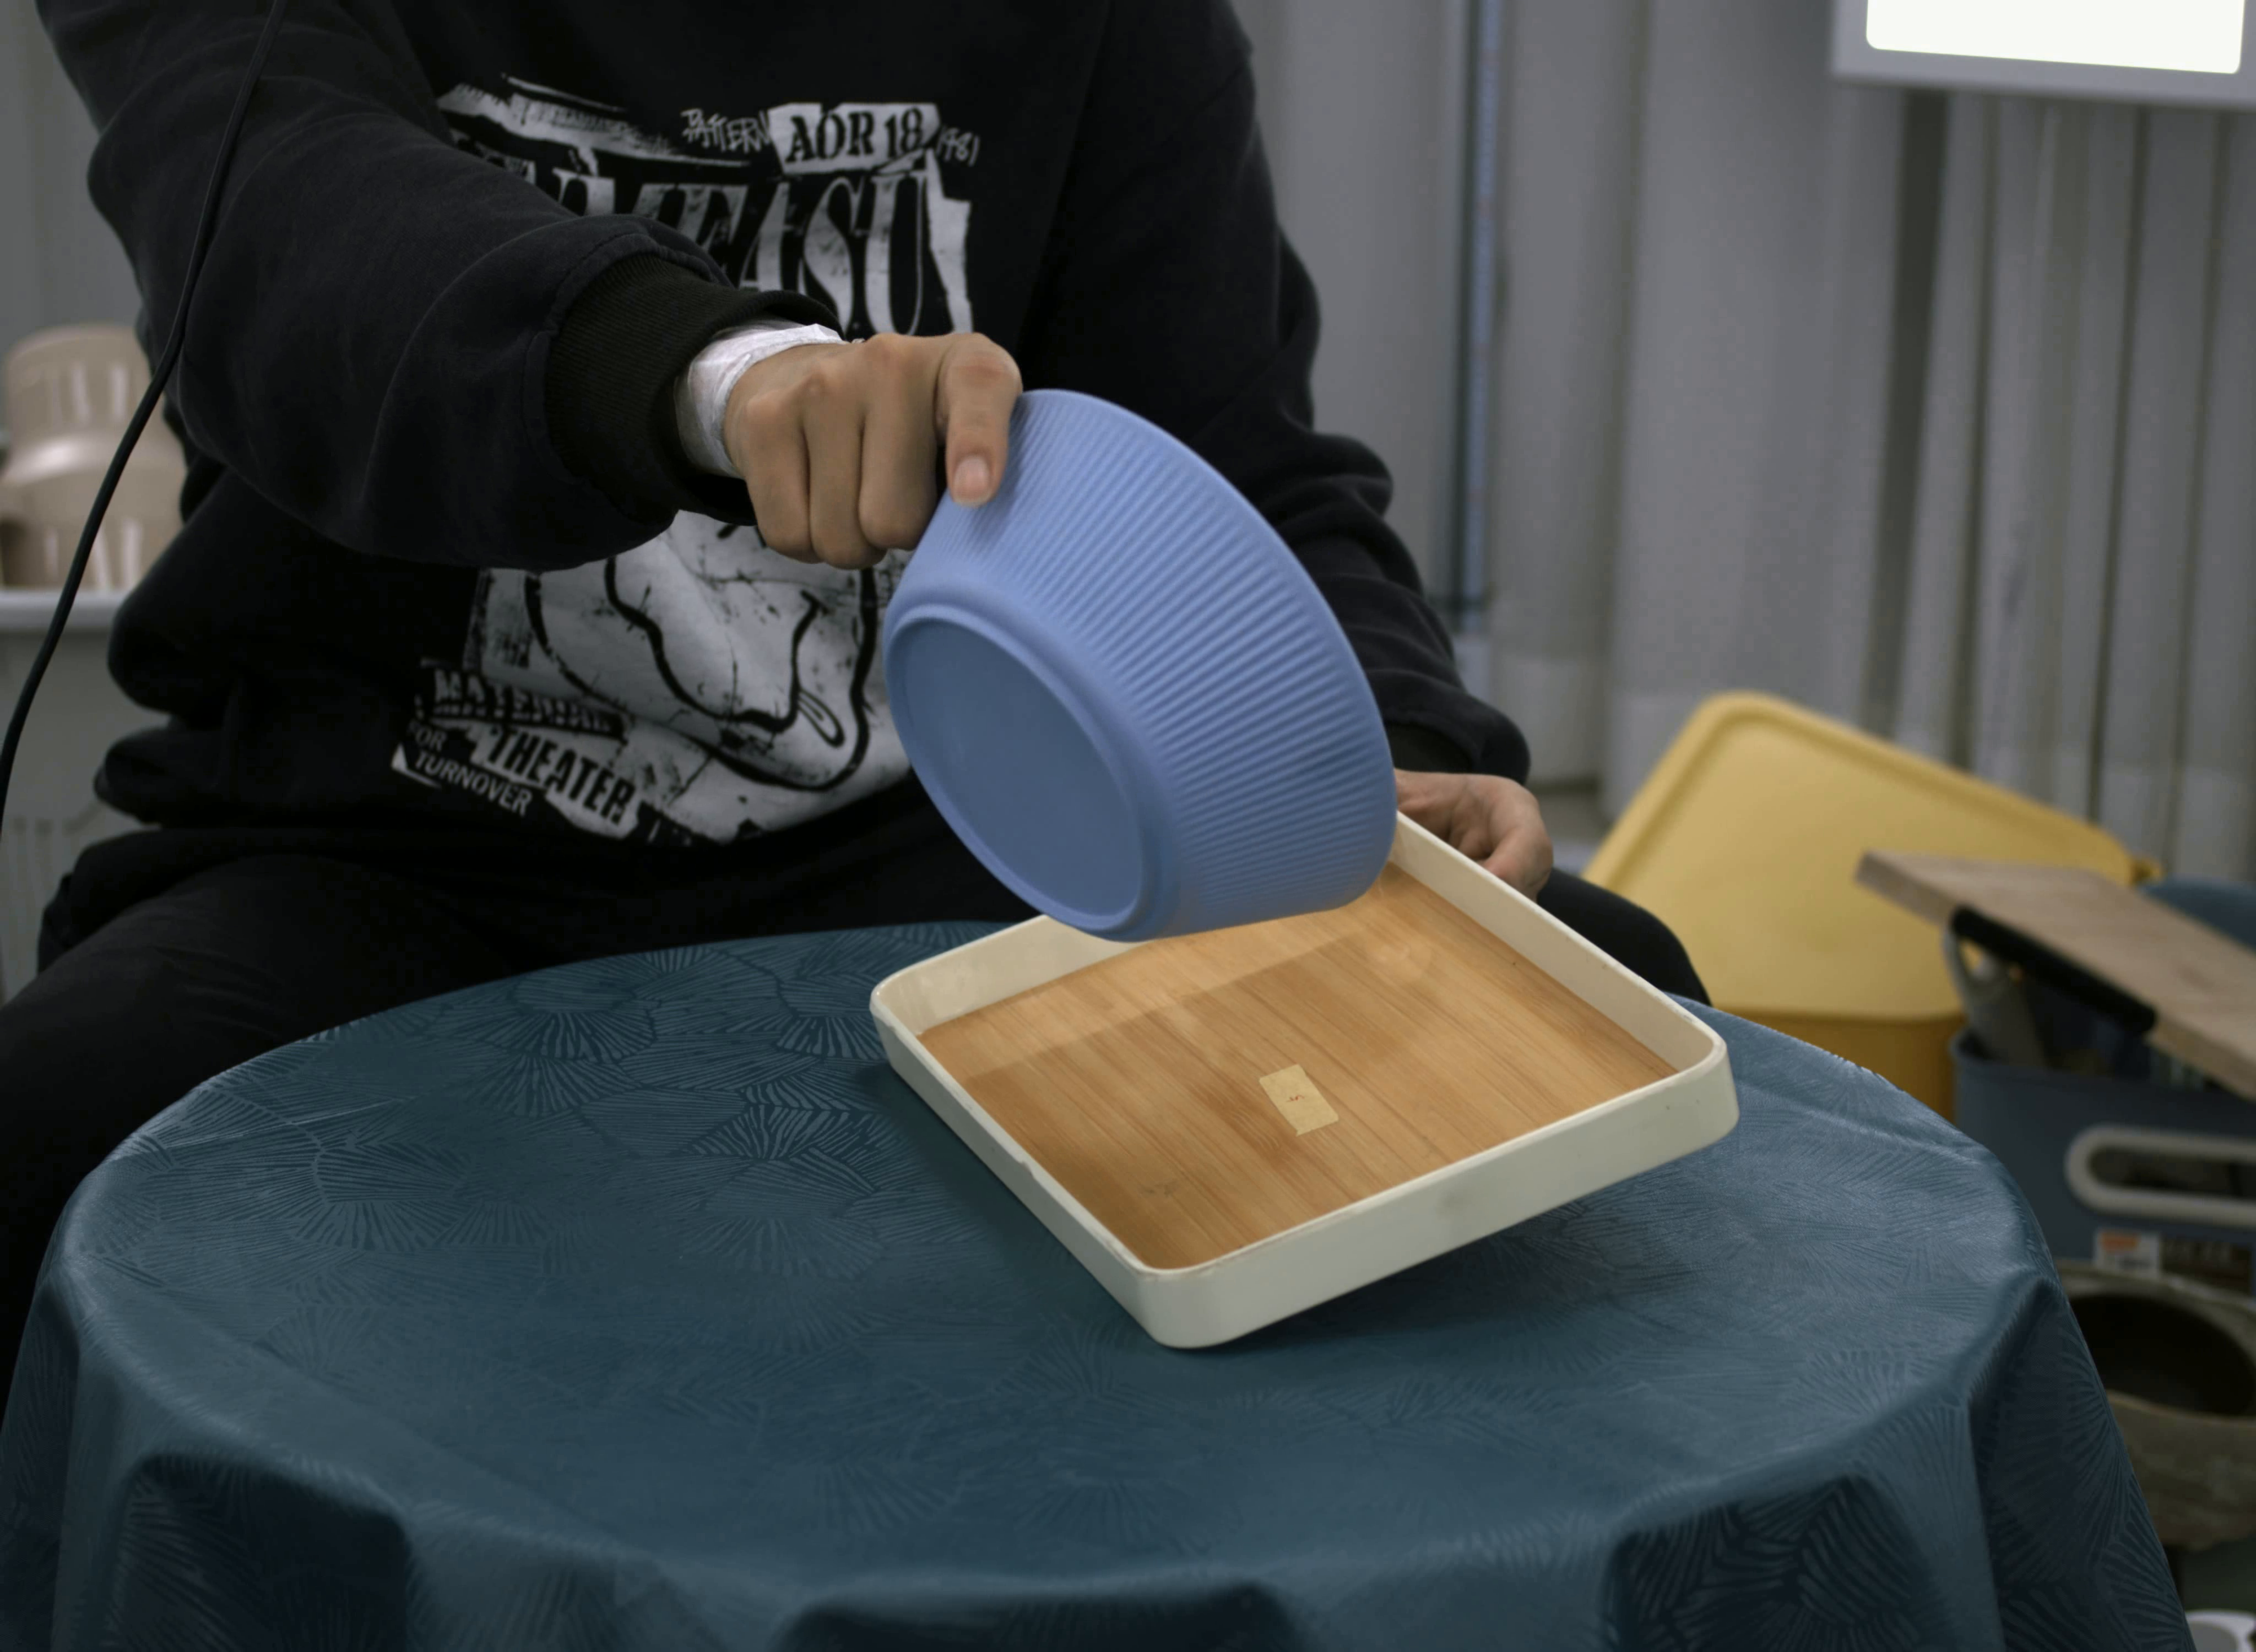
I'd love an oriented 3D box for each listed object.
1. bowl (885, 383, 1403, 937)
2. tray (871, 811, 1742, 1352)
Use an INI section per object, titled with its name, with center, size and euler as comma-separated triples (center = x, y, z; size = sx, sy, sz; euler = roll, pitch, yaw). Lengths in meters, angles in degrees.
[bowl]
center = -0.007, -0.035, 1.503
size = 0.070, 0.178, 0.173
euler = -38, 35, -28
[tray]
center = 0.048, 0.071, 1.638
size = 0.191, 0.028, 0.297
euler = -21, 22, -13
